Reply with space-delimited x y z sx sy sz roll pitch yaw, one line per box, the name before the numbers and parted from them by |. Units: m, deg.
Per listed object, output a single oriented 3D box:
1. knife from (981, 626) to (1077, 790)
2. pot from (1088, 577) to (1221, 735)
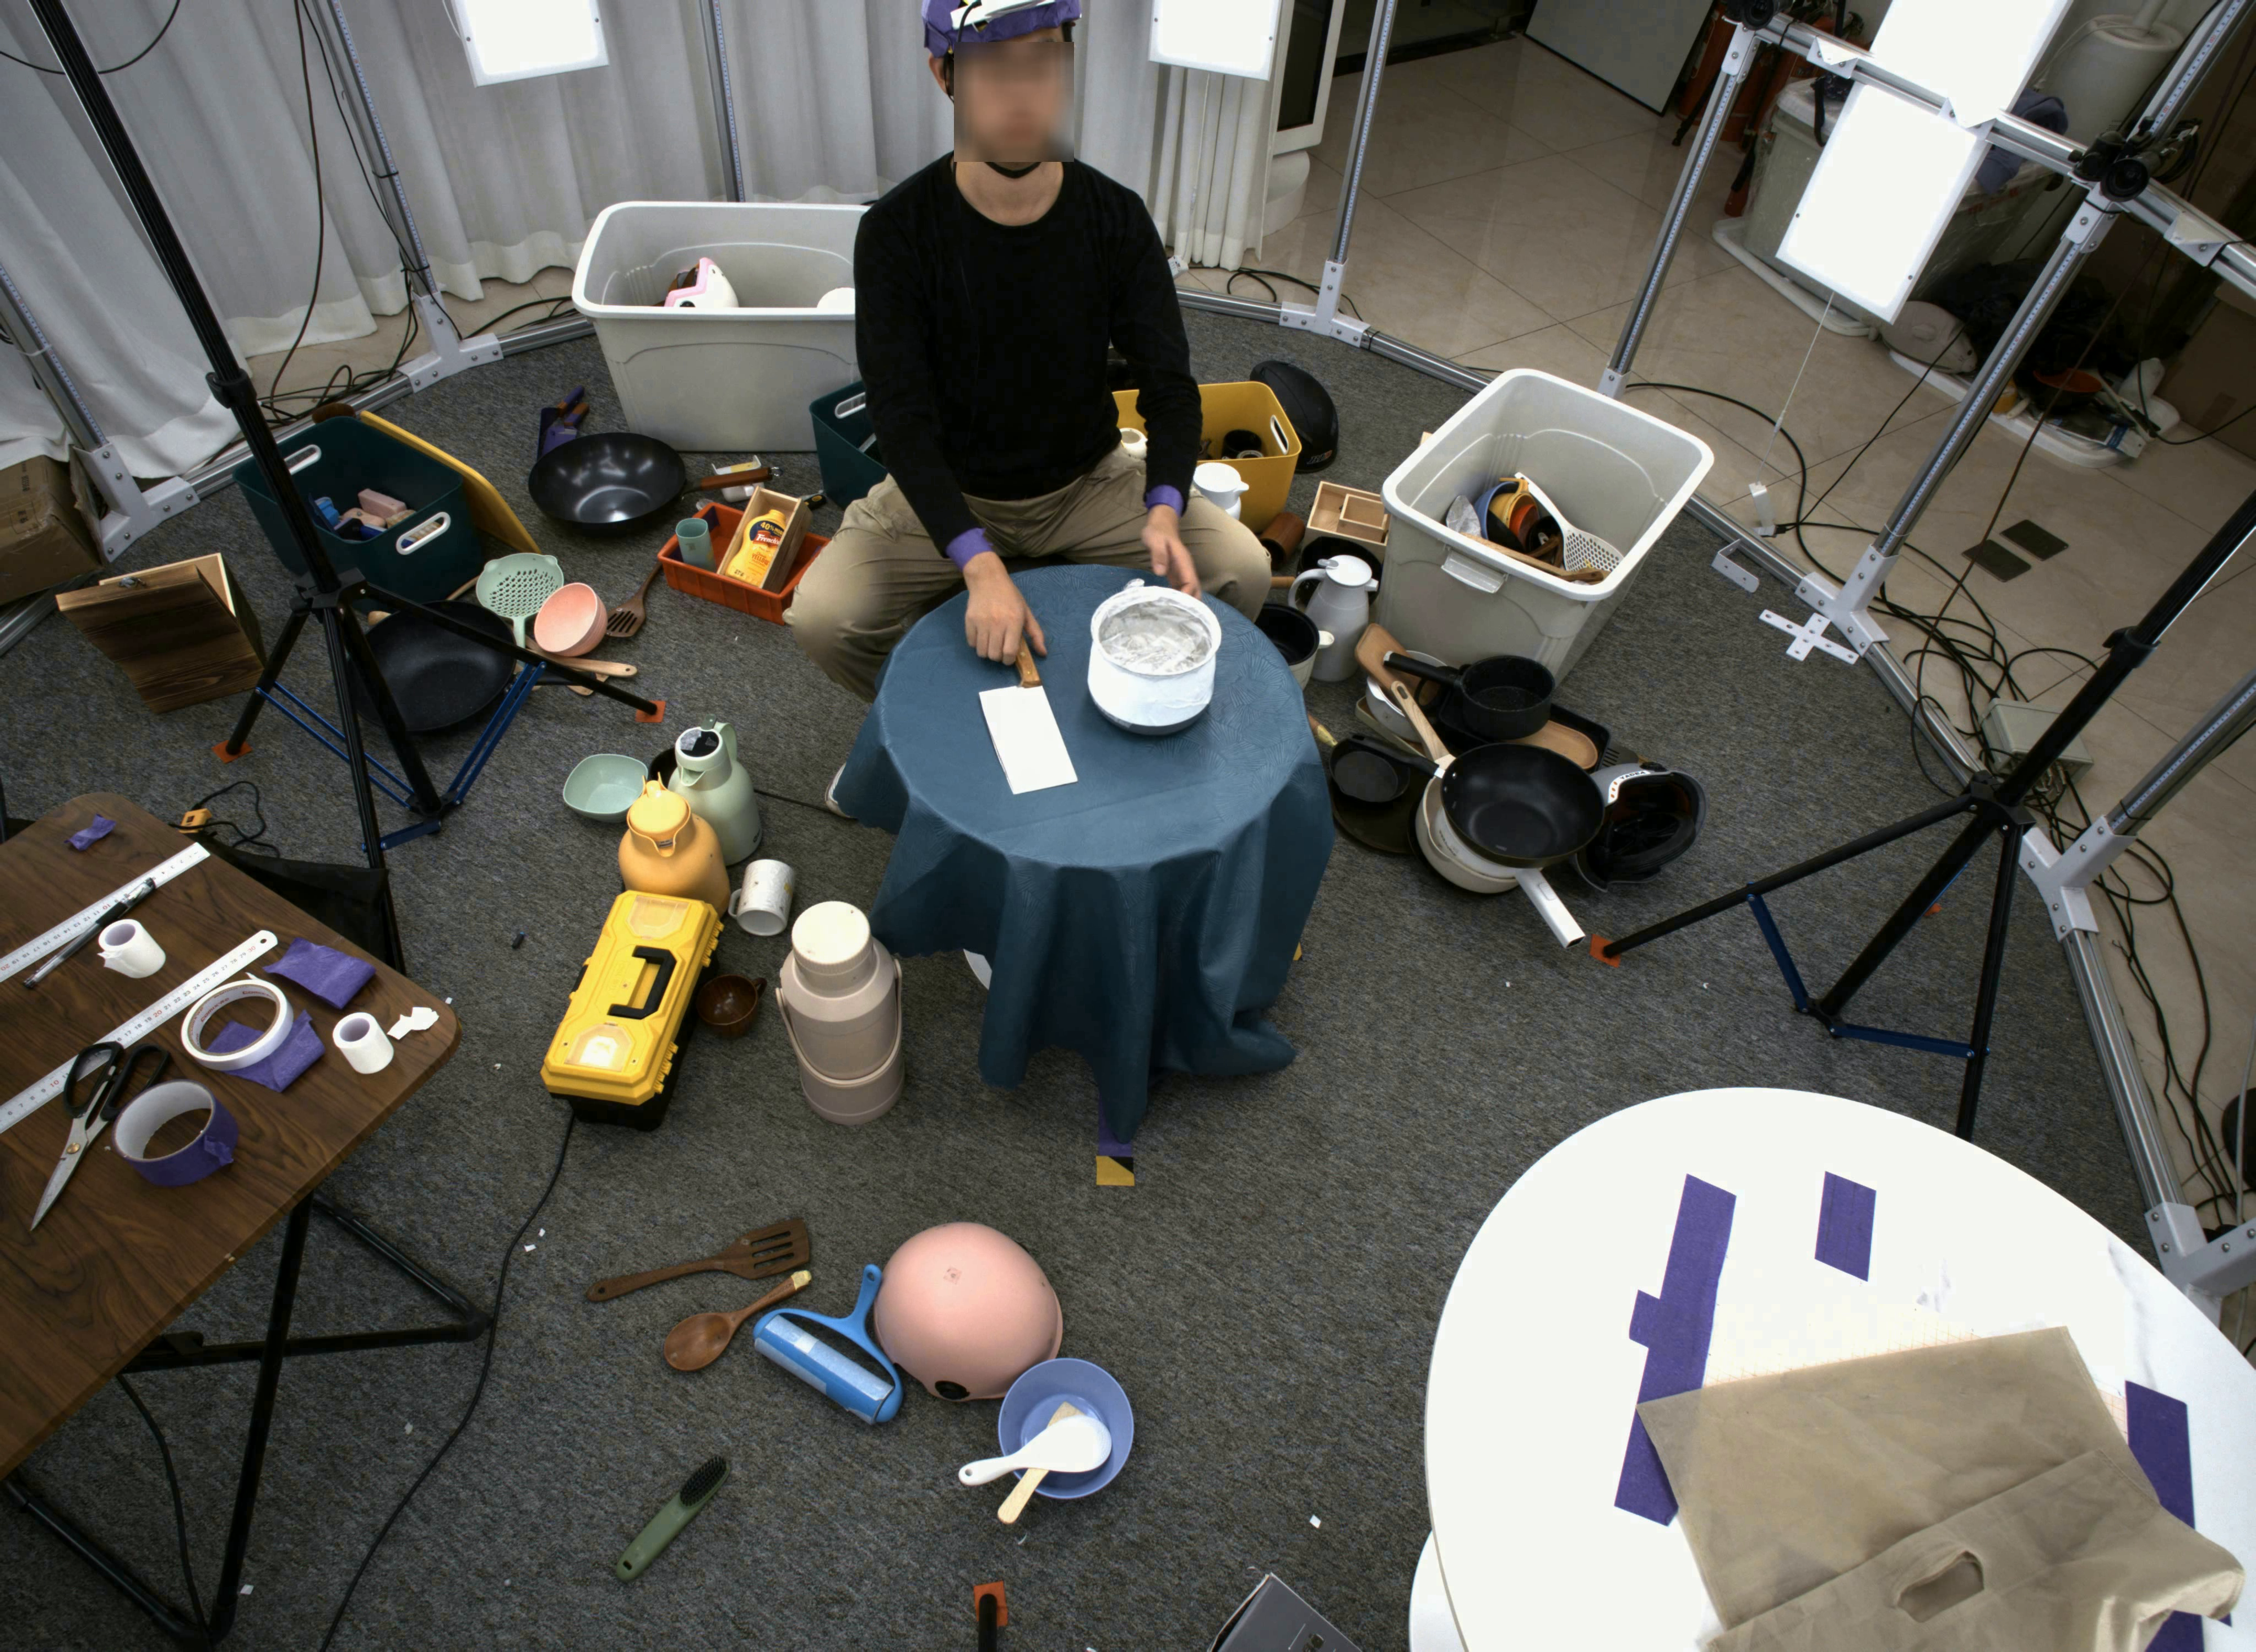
knife | -0.153 -0.168 1.797 0.093 0.020 0.313 -11 52 -14
pot | 0.026 -0.247 1.794 0.178 0.133 0.239 -9 51 -12
